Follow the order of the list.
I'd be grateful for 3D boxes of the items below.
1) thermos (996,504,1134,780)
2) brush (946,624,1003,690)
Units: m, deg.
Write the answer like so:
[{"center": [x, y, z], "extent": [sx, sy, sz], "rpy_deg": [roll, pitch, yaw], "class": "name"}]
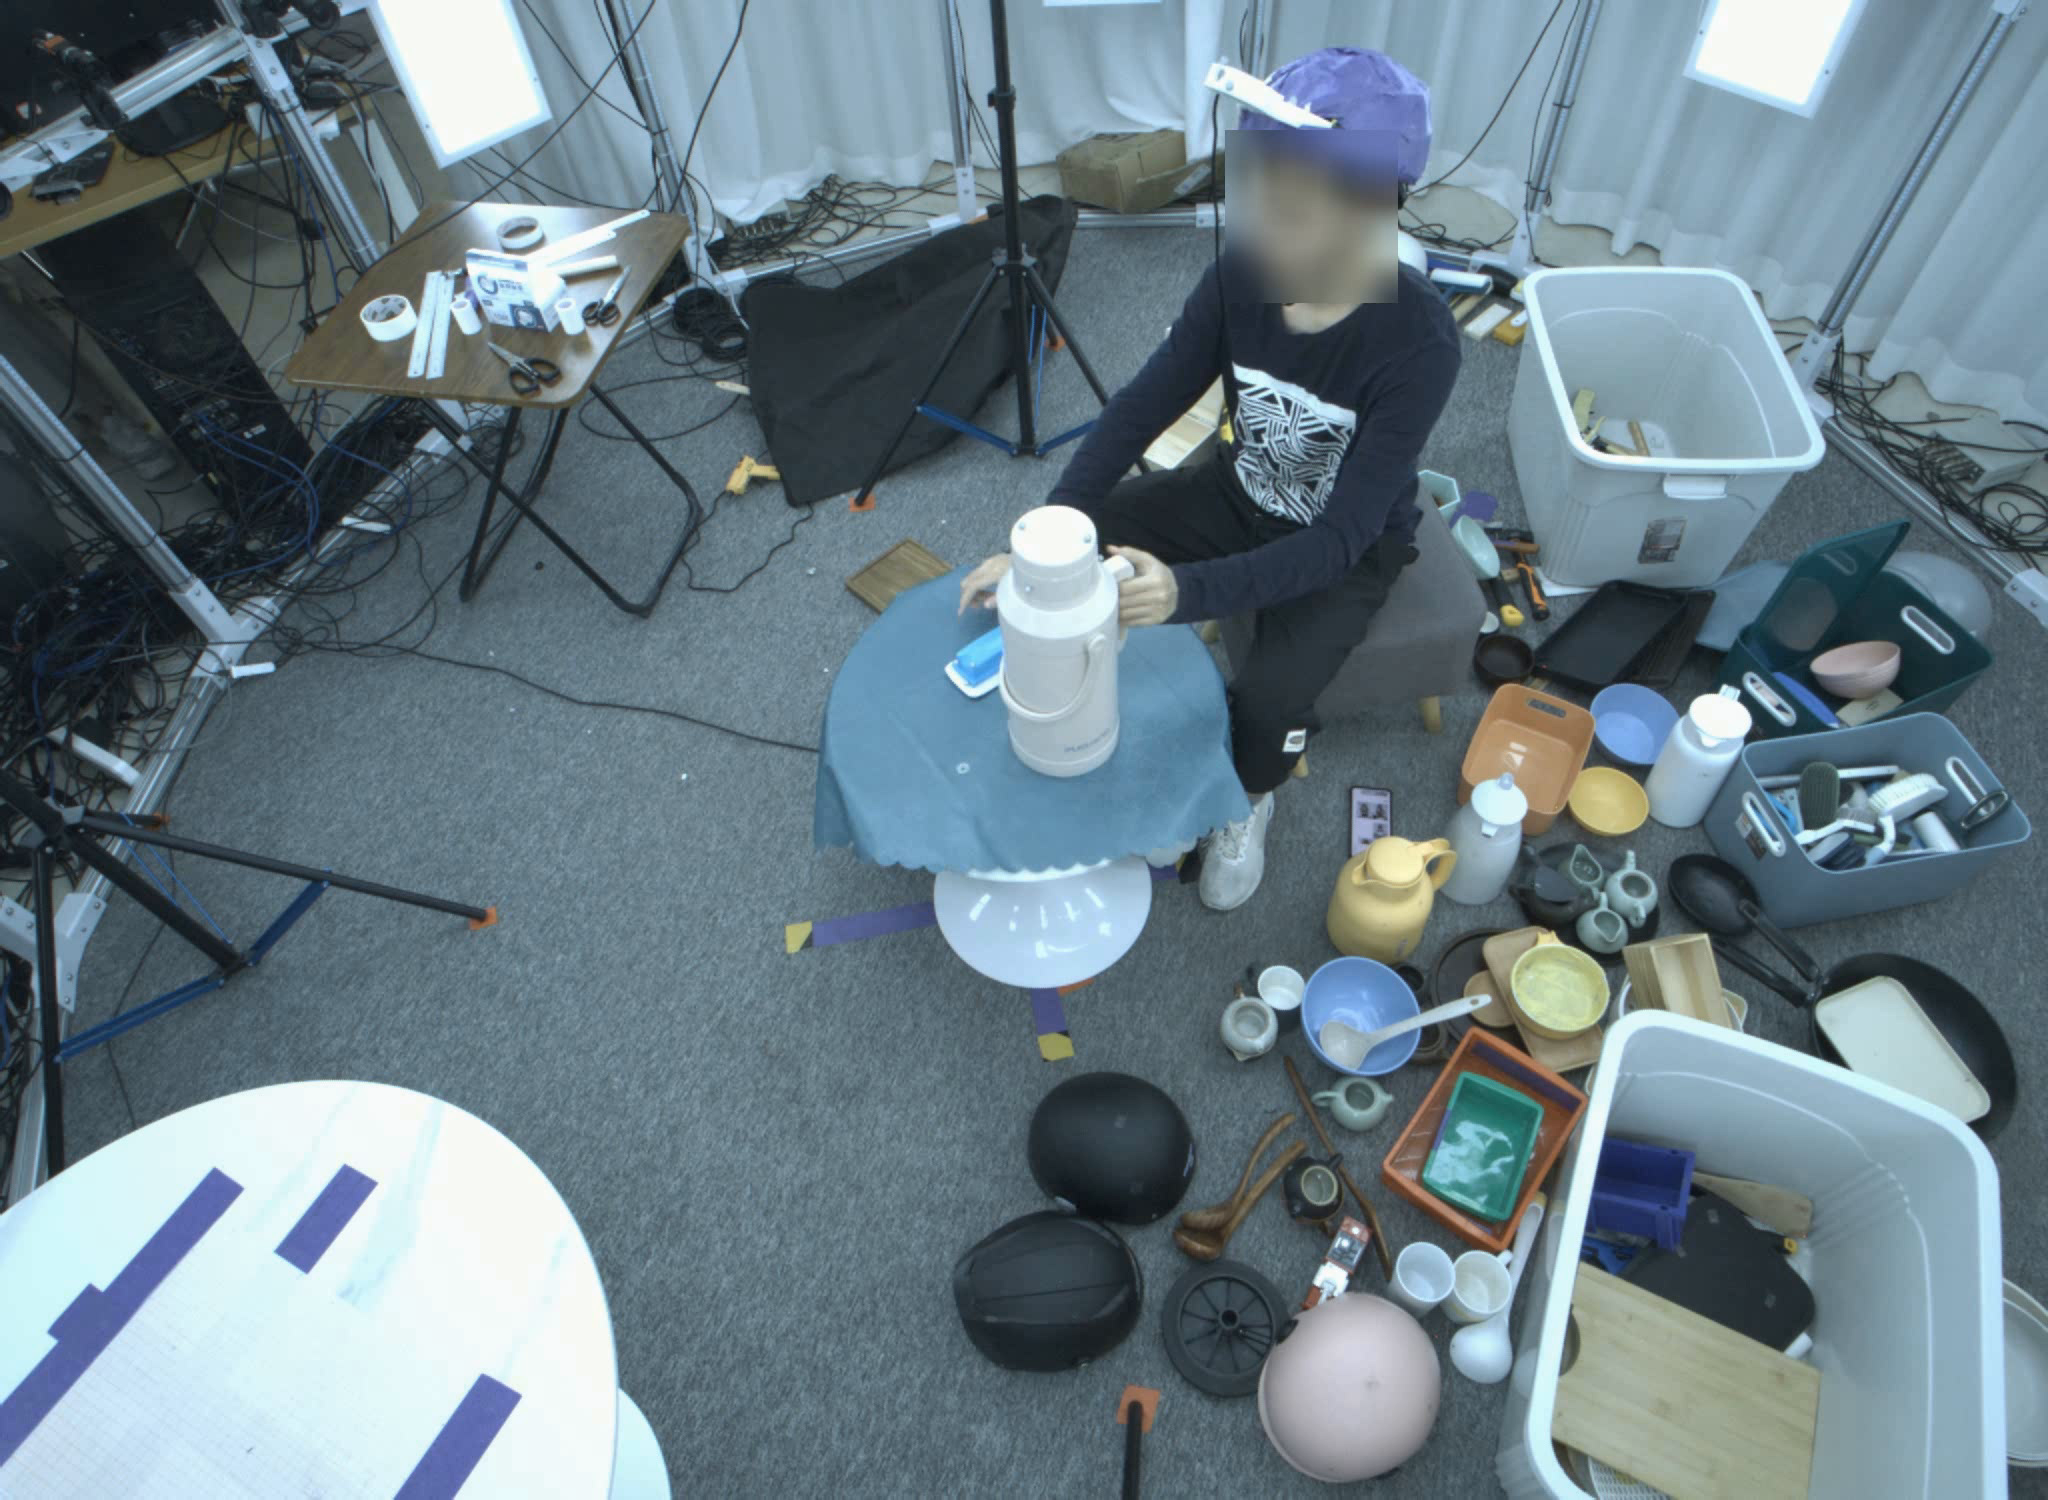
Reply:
[{"center": [0.059, -0.145, 1.636], "extent": [0.209, 0.411, 0.172], "rpy_deg": [-32, 57, -19], "class": "thermos"}, {"center": [-0.044, -0.154, 1.853], "extent": [0.145, 0.056, 0.082], "rpy_deg": [-33, 62, -16], "class": "brush"}]
